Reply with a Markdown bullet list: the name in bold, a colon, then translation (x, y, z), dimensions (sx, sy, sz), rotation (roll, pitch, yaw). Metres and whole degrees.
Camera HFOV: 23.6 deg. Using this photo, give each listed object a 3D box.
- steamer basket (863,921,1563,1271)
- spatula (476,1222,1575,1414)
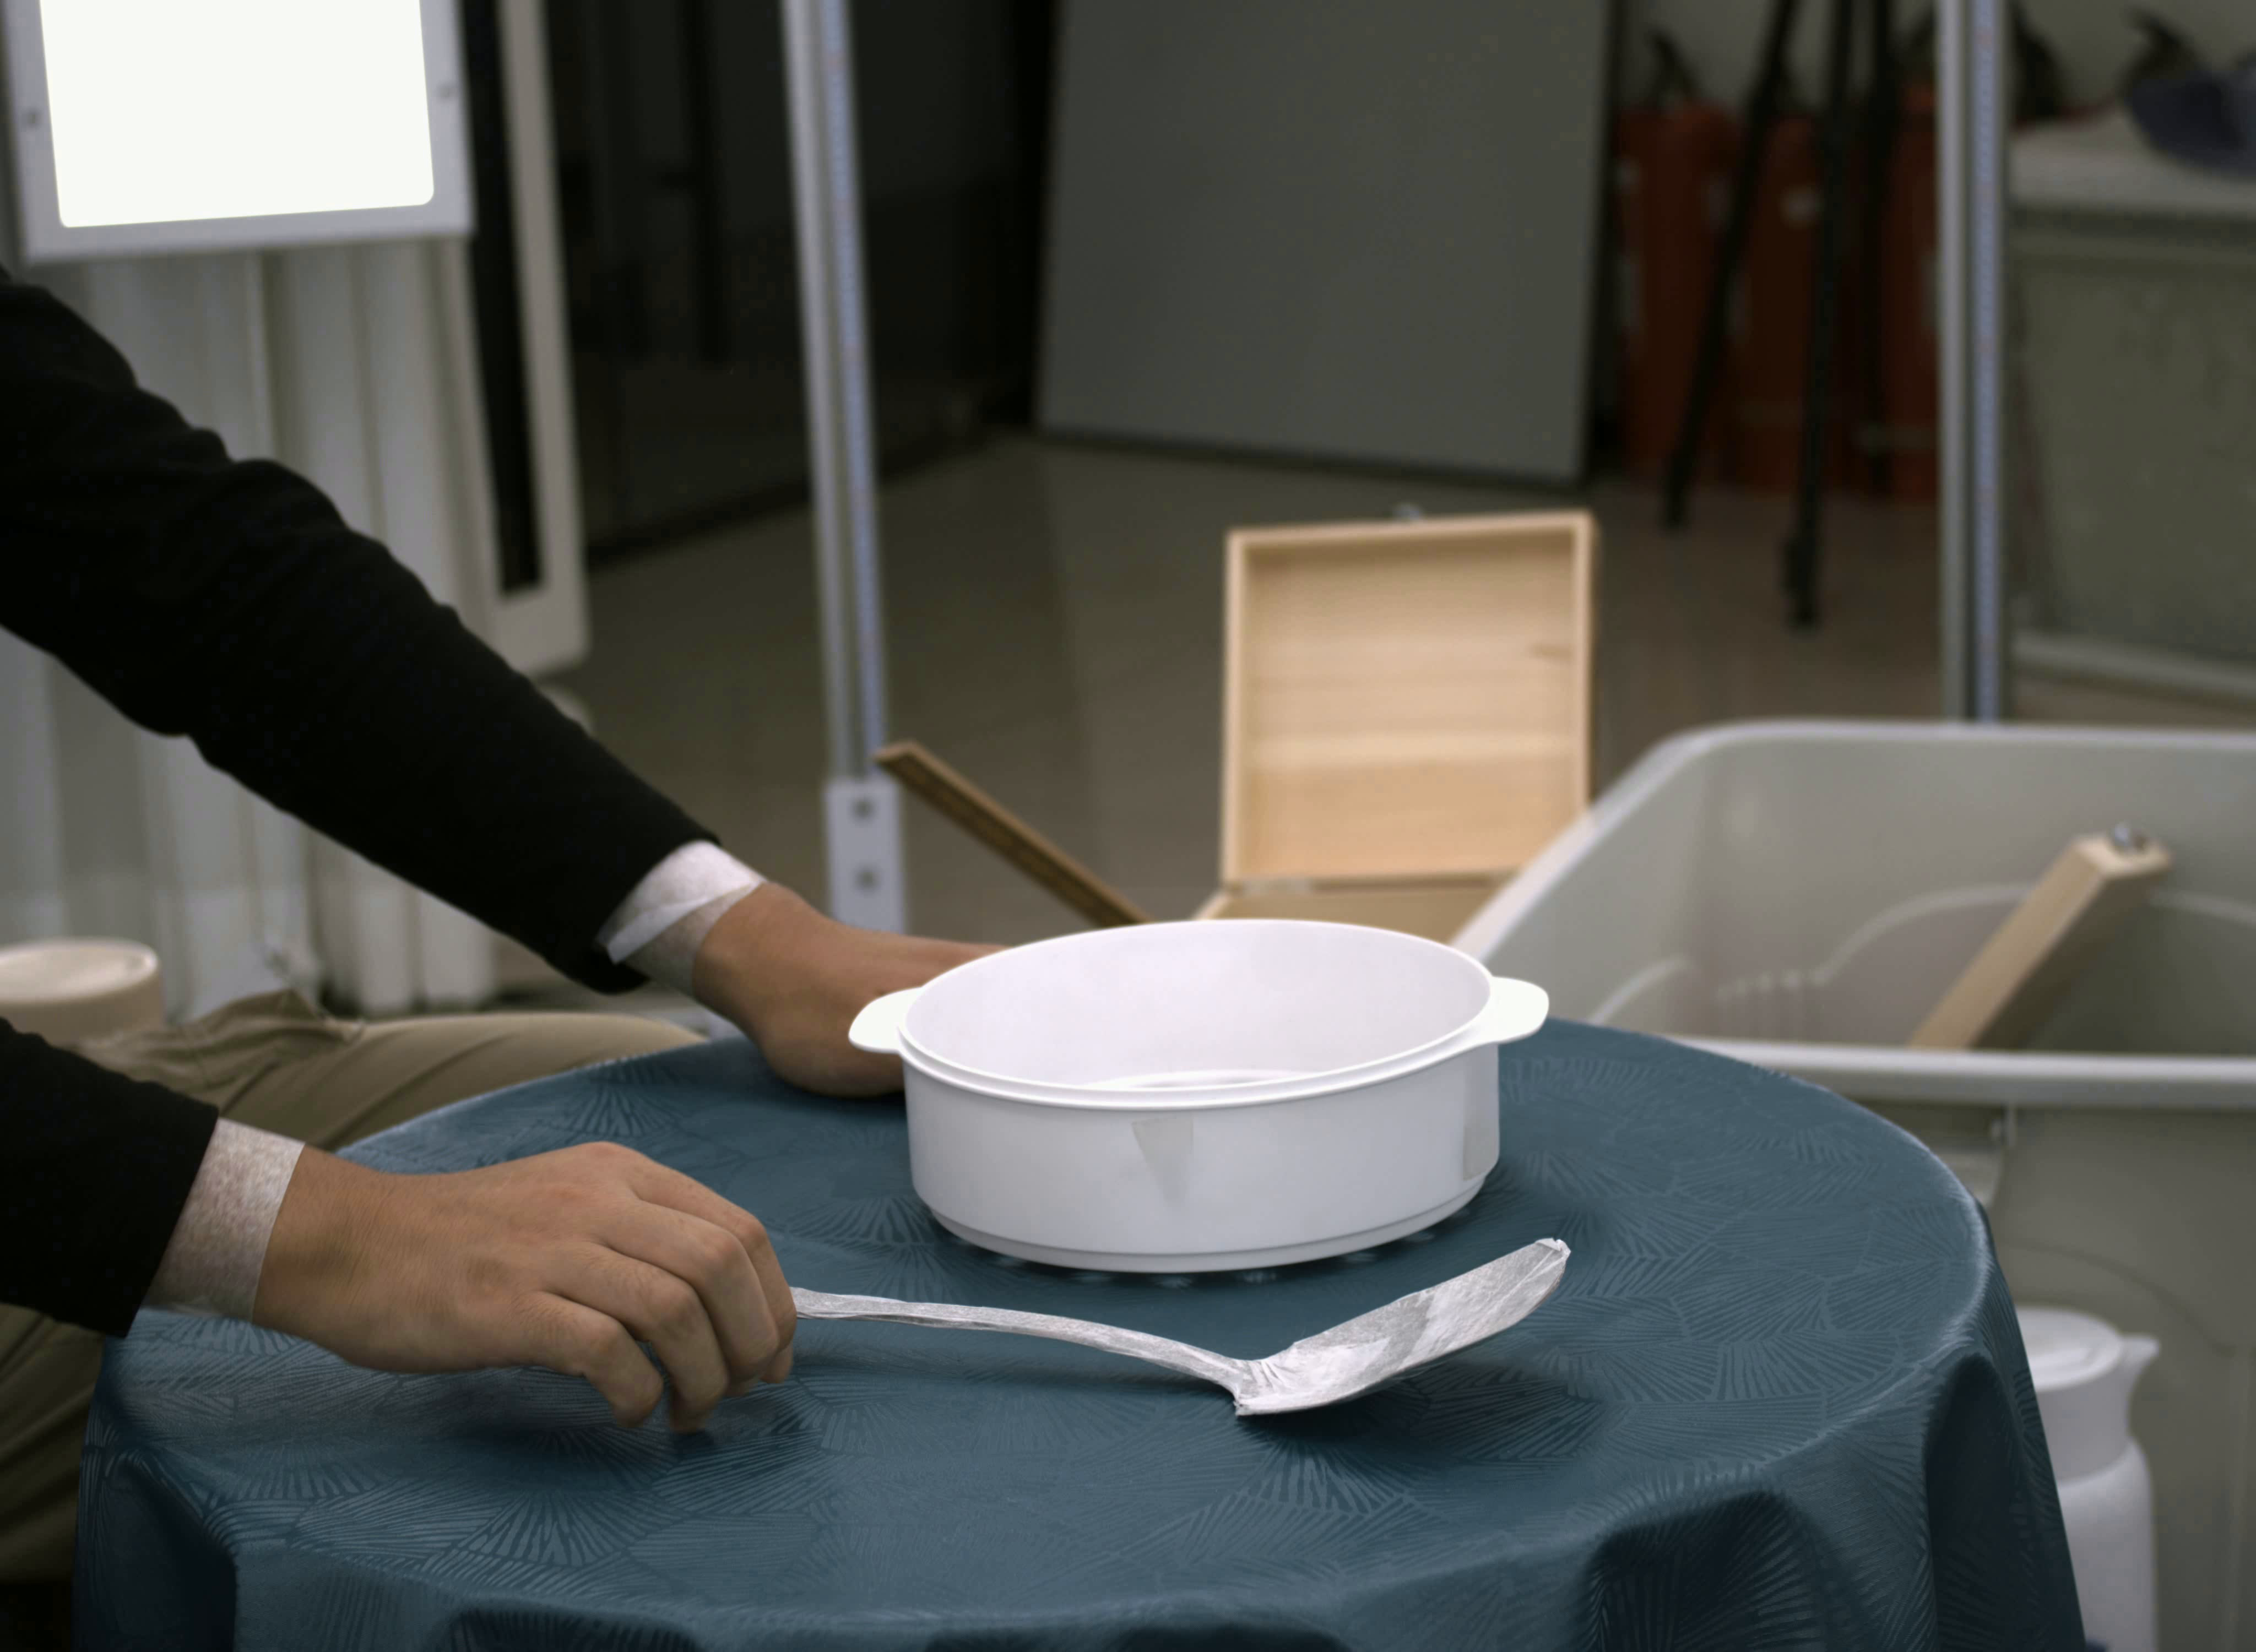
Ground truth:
- **steamer basket**: translation (0.029, 0.087, 1.752), dimensions (0.229, 0.070, 0.201), rotation (-2, 13, 11)
- **spatula**: translation (-0.043, 0.144, 1.611), dimensions (0.365, 0.045, 0.097), rotation (2, 18, 23)
